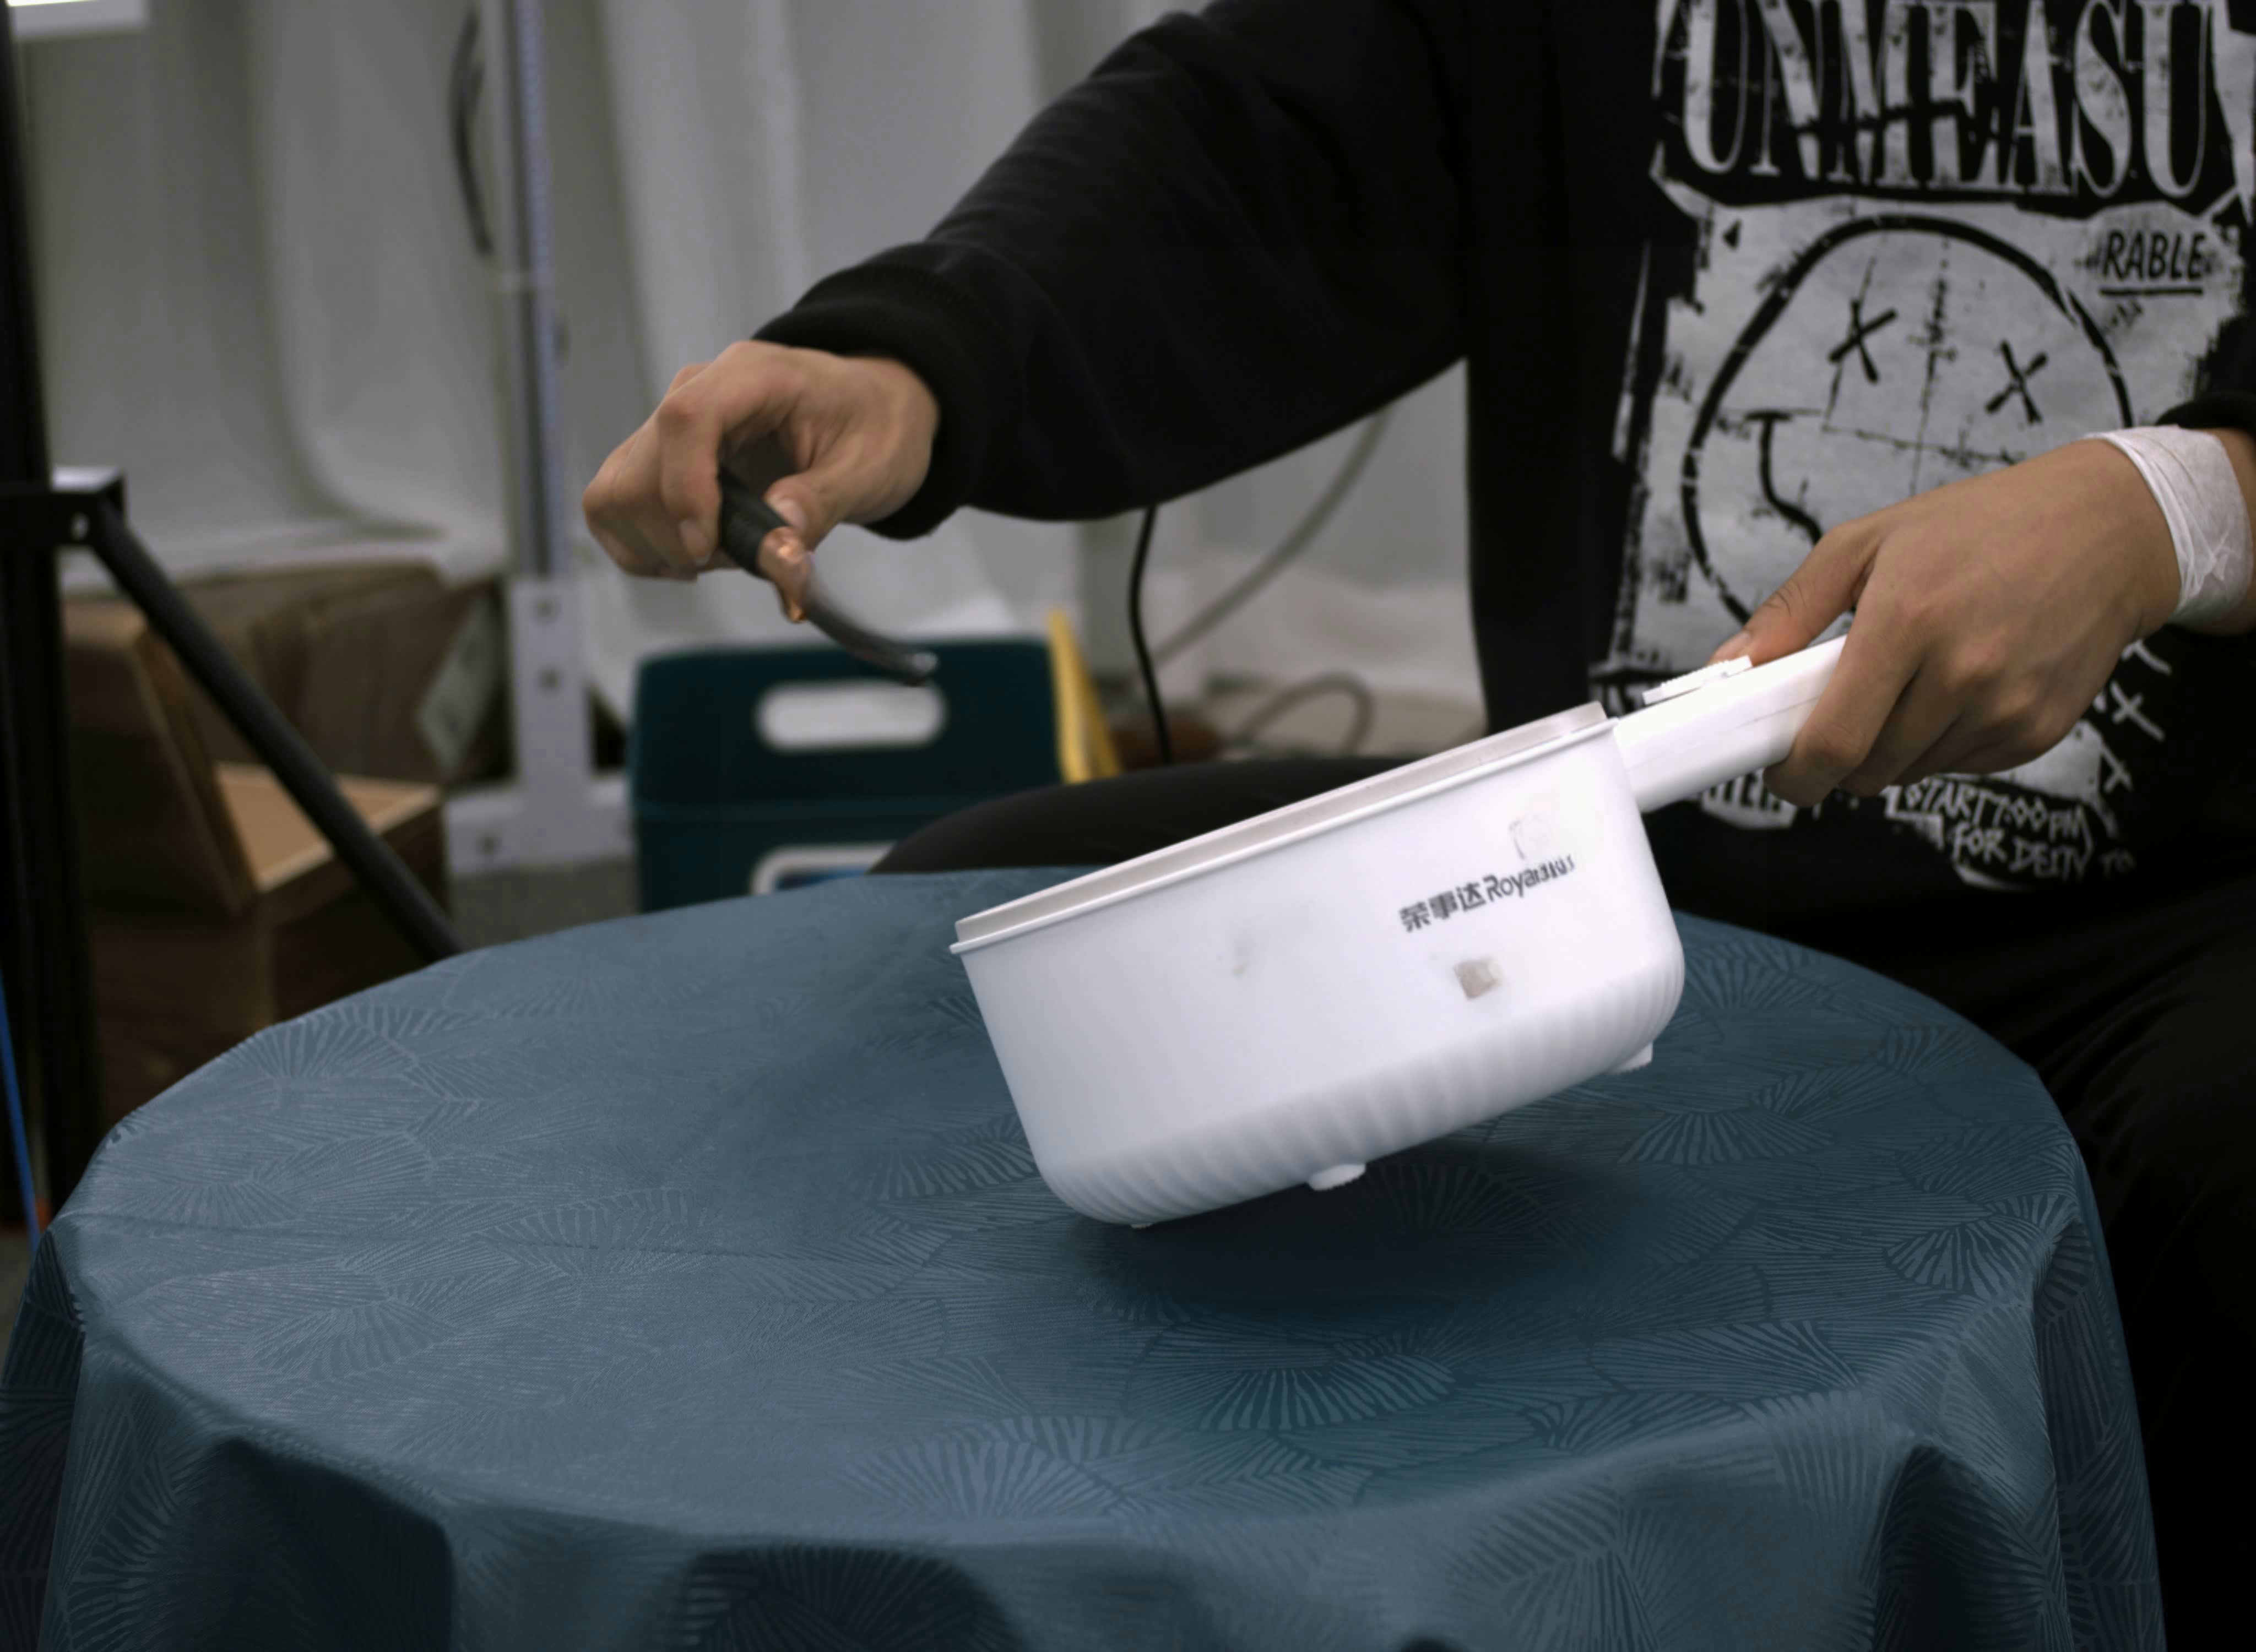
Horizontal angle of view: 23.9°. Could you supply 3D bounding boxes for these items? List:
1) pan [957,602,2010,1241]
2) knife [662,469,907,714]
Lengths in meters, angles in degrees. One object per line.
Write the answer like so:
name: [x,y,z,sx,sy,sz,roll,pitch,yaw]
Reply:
pan: [0.122,0.027,1.539,0.347,0.102,0.204,-18,-2,-30]
knife: [-0.102,-0.073,1.599,0.017,0.026,0.230,7,14,-23]
